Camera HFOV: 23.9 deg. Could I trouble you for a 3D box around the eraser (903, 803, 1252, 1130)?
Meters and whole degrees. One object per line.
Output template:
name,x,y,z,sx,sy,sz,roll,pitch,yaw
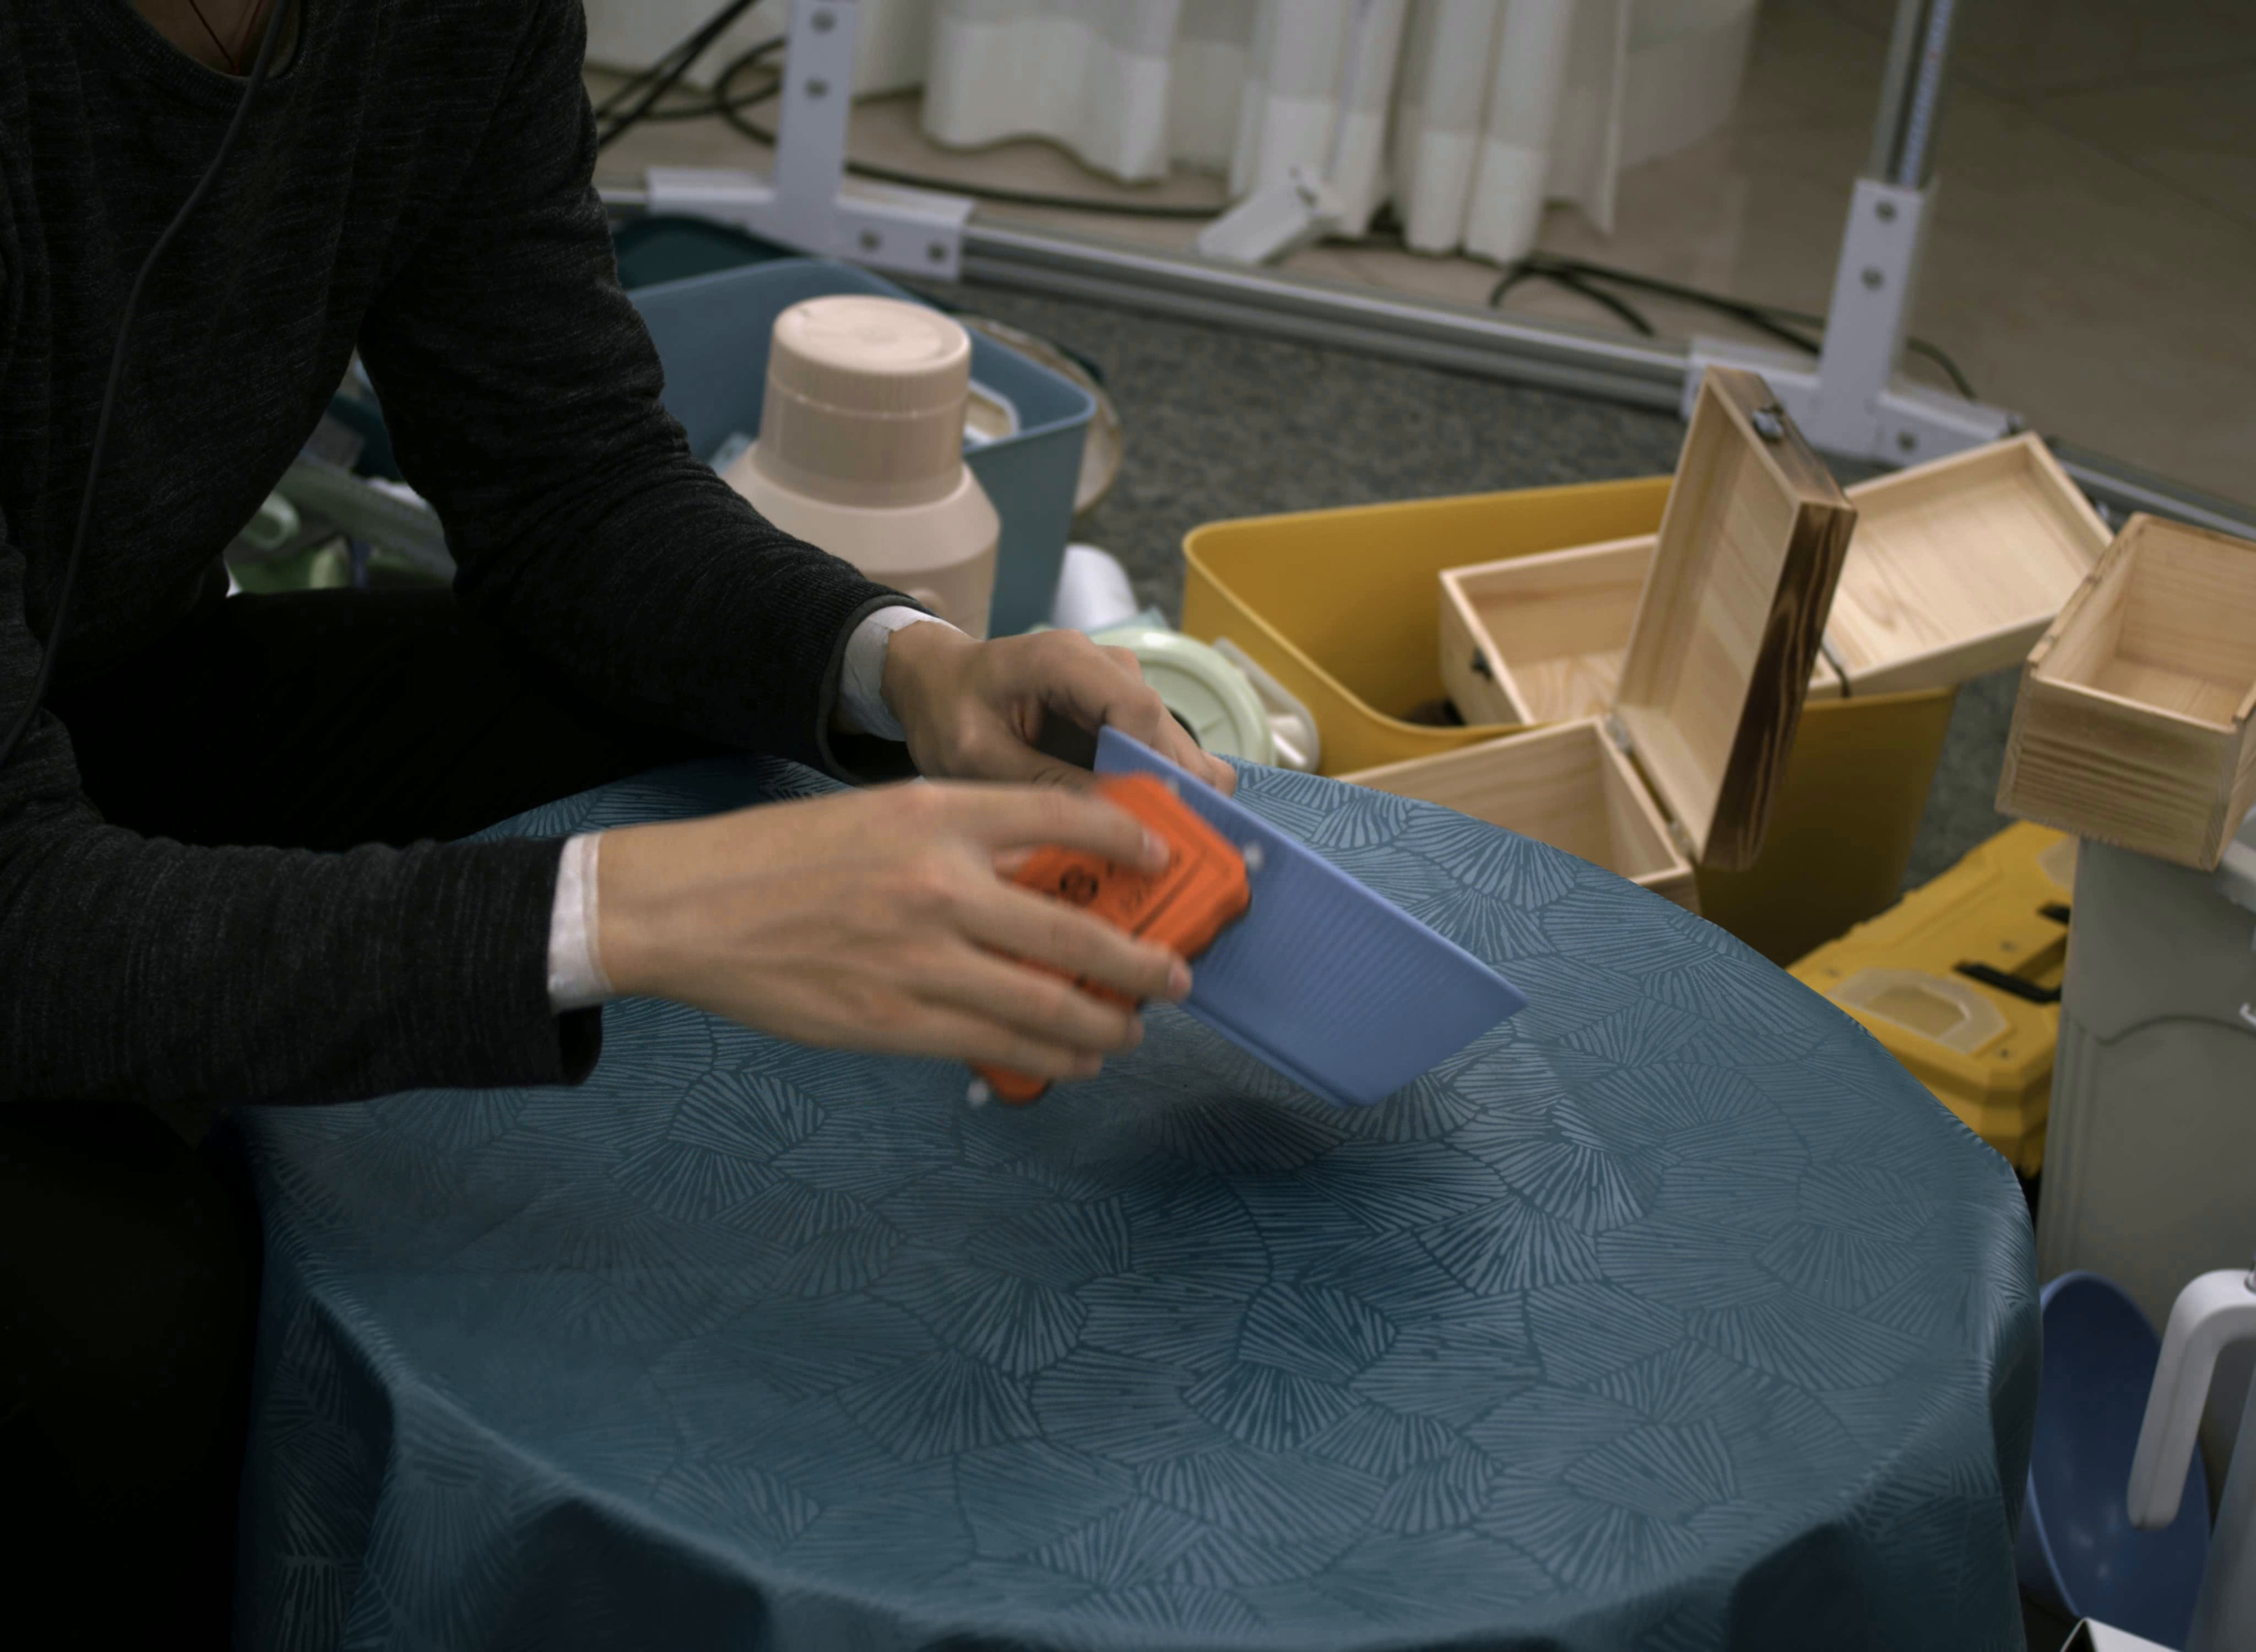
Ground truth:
eraser,-0.016,0.045,1.702,0.108,0.023,0.059,-40,62,-12

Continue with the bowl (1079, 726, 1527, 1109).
bowl,0.047,0.040,1.830,0.176,0.070,0.176,32,0,0
